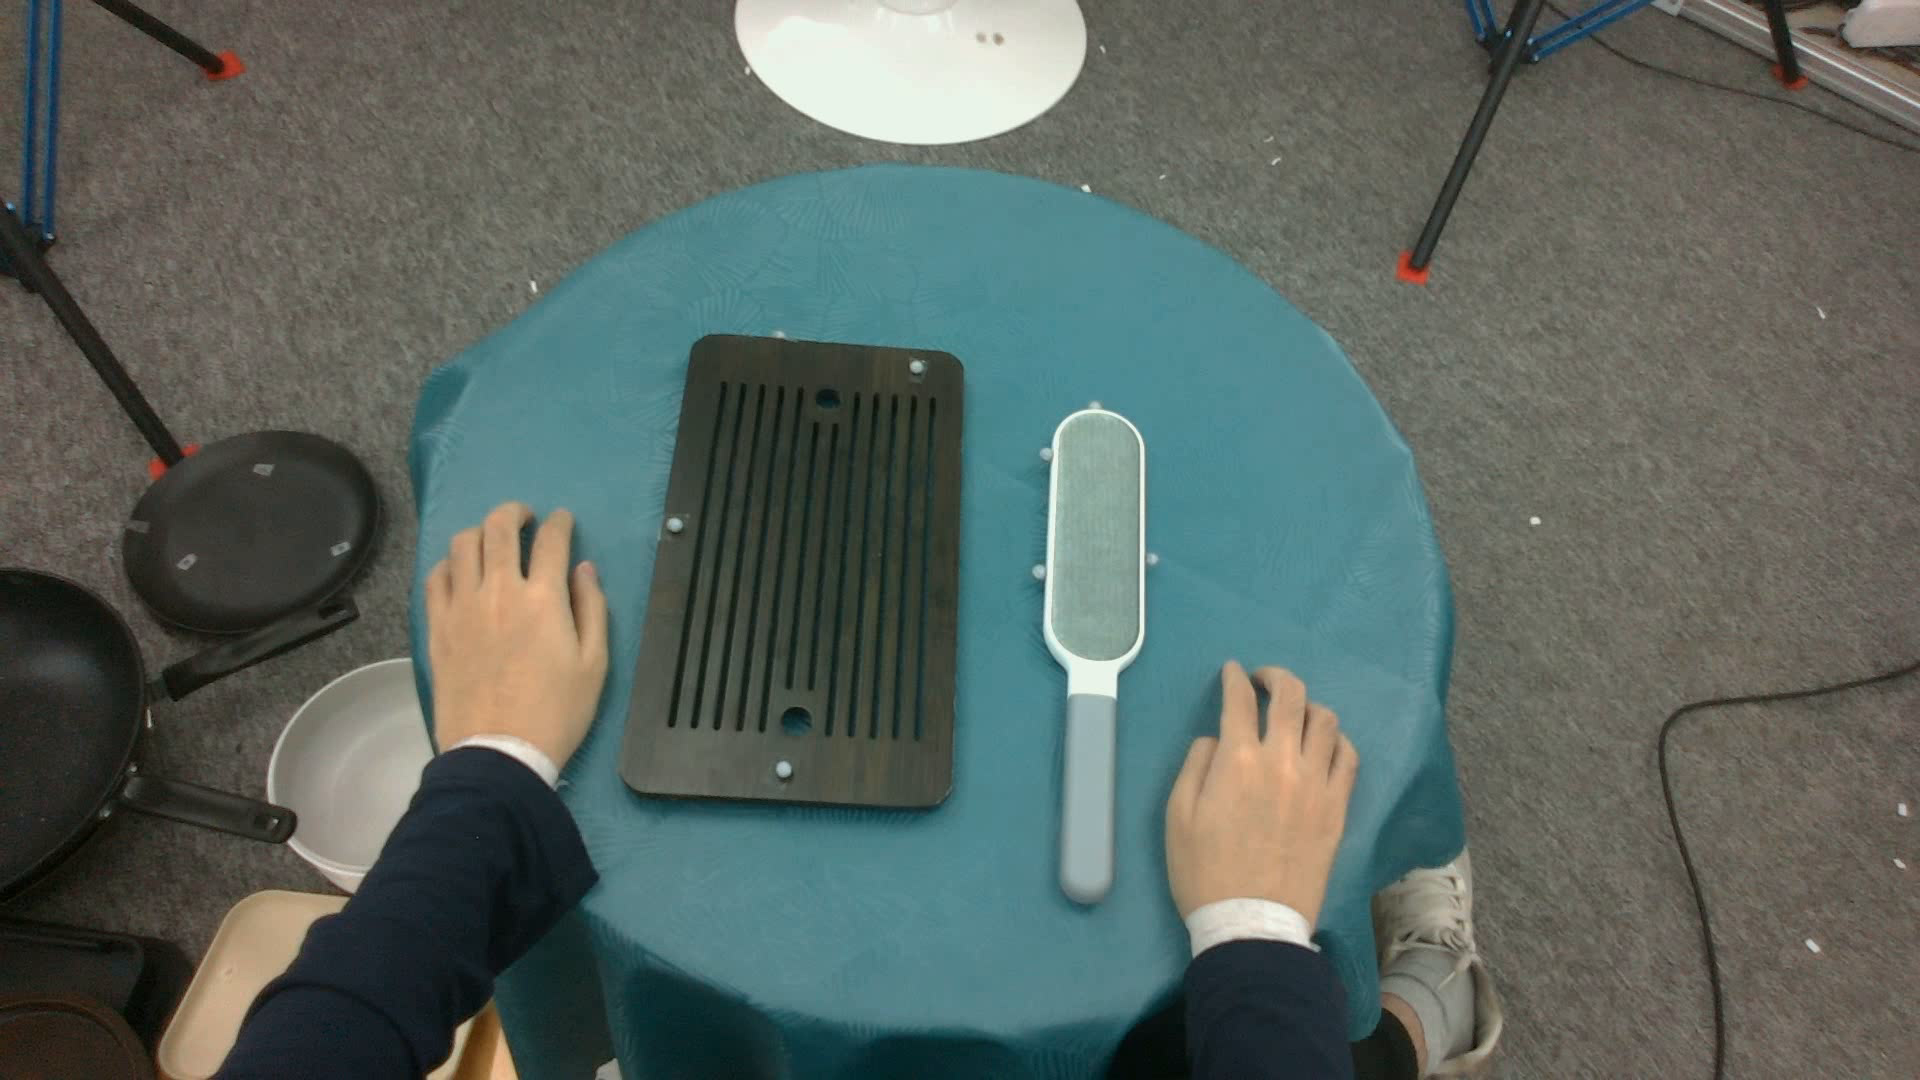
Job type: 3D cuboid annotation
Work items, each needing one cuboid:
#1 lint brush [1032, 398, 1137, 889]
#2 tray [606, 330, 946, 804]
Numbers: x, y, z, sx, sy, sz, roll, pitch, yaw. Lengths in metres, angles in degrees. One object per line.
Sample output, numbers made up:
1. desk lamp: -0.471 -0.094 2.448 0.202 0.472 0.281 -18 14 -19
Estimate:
1. lint brush: 0.068 0.043 0.765 0.060 0.021 0.310 9 56 -6
2. tray: -0.094 0.004 0.780 0.170 0.018 0.307 3 56 -4
